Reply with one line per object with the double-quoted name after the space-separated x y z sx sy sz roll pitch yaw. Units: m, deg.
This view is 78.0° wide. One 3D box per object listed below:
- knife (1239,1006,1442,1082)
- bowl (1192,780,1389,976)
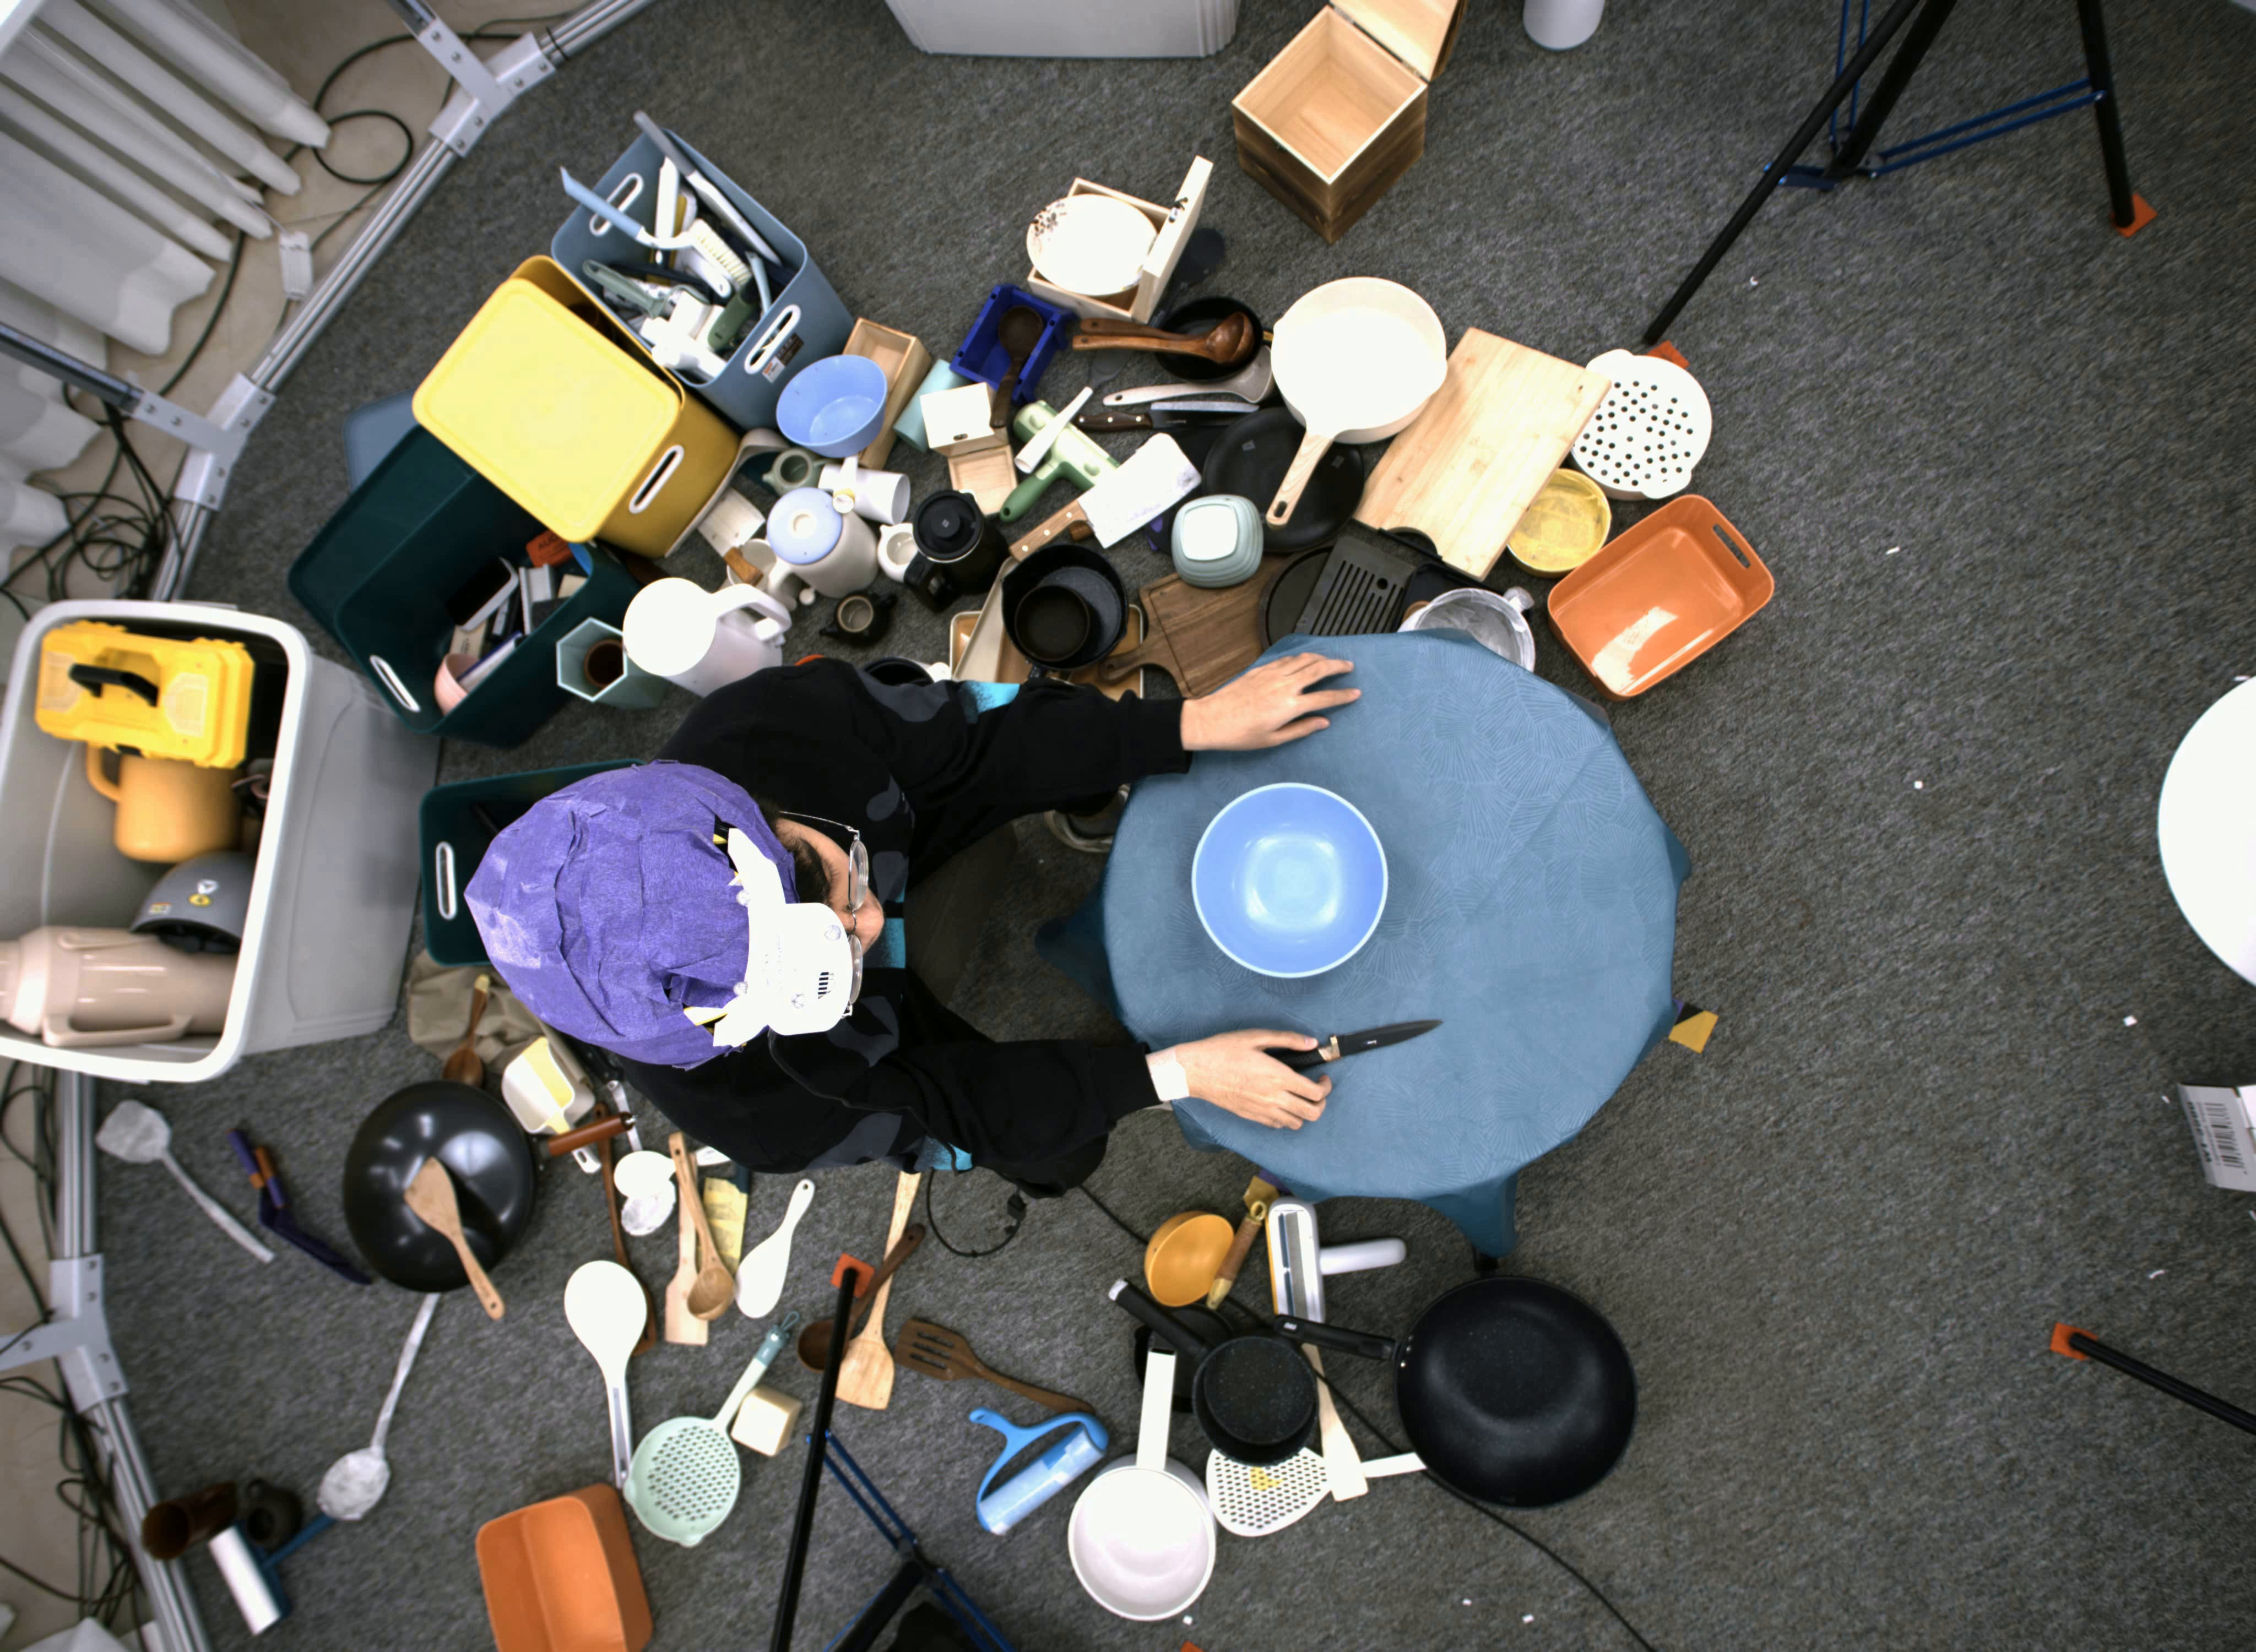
0.223 0.228 1.454 0.227 0.017 0.026 -18 81 8 "knife"
0.167 0.056 1.429 0.197 0.095 0.195 -1 85 7 "bowl"
